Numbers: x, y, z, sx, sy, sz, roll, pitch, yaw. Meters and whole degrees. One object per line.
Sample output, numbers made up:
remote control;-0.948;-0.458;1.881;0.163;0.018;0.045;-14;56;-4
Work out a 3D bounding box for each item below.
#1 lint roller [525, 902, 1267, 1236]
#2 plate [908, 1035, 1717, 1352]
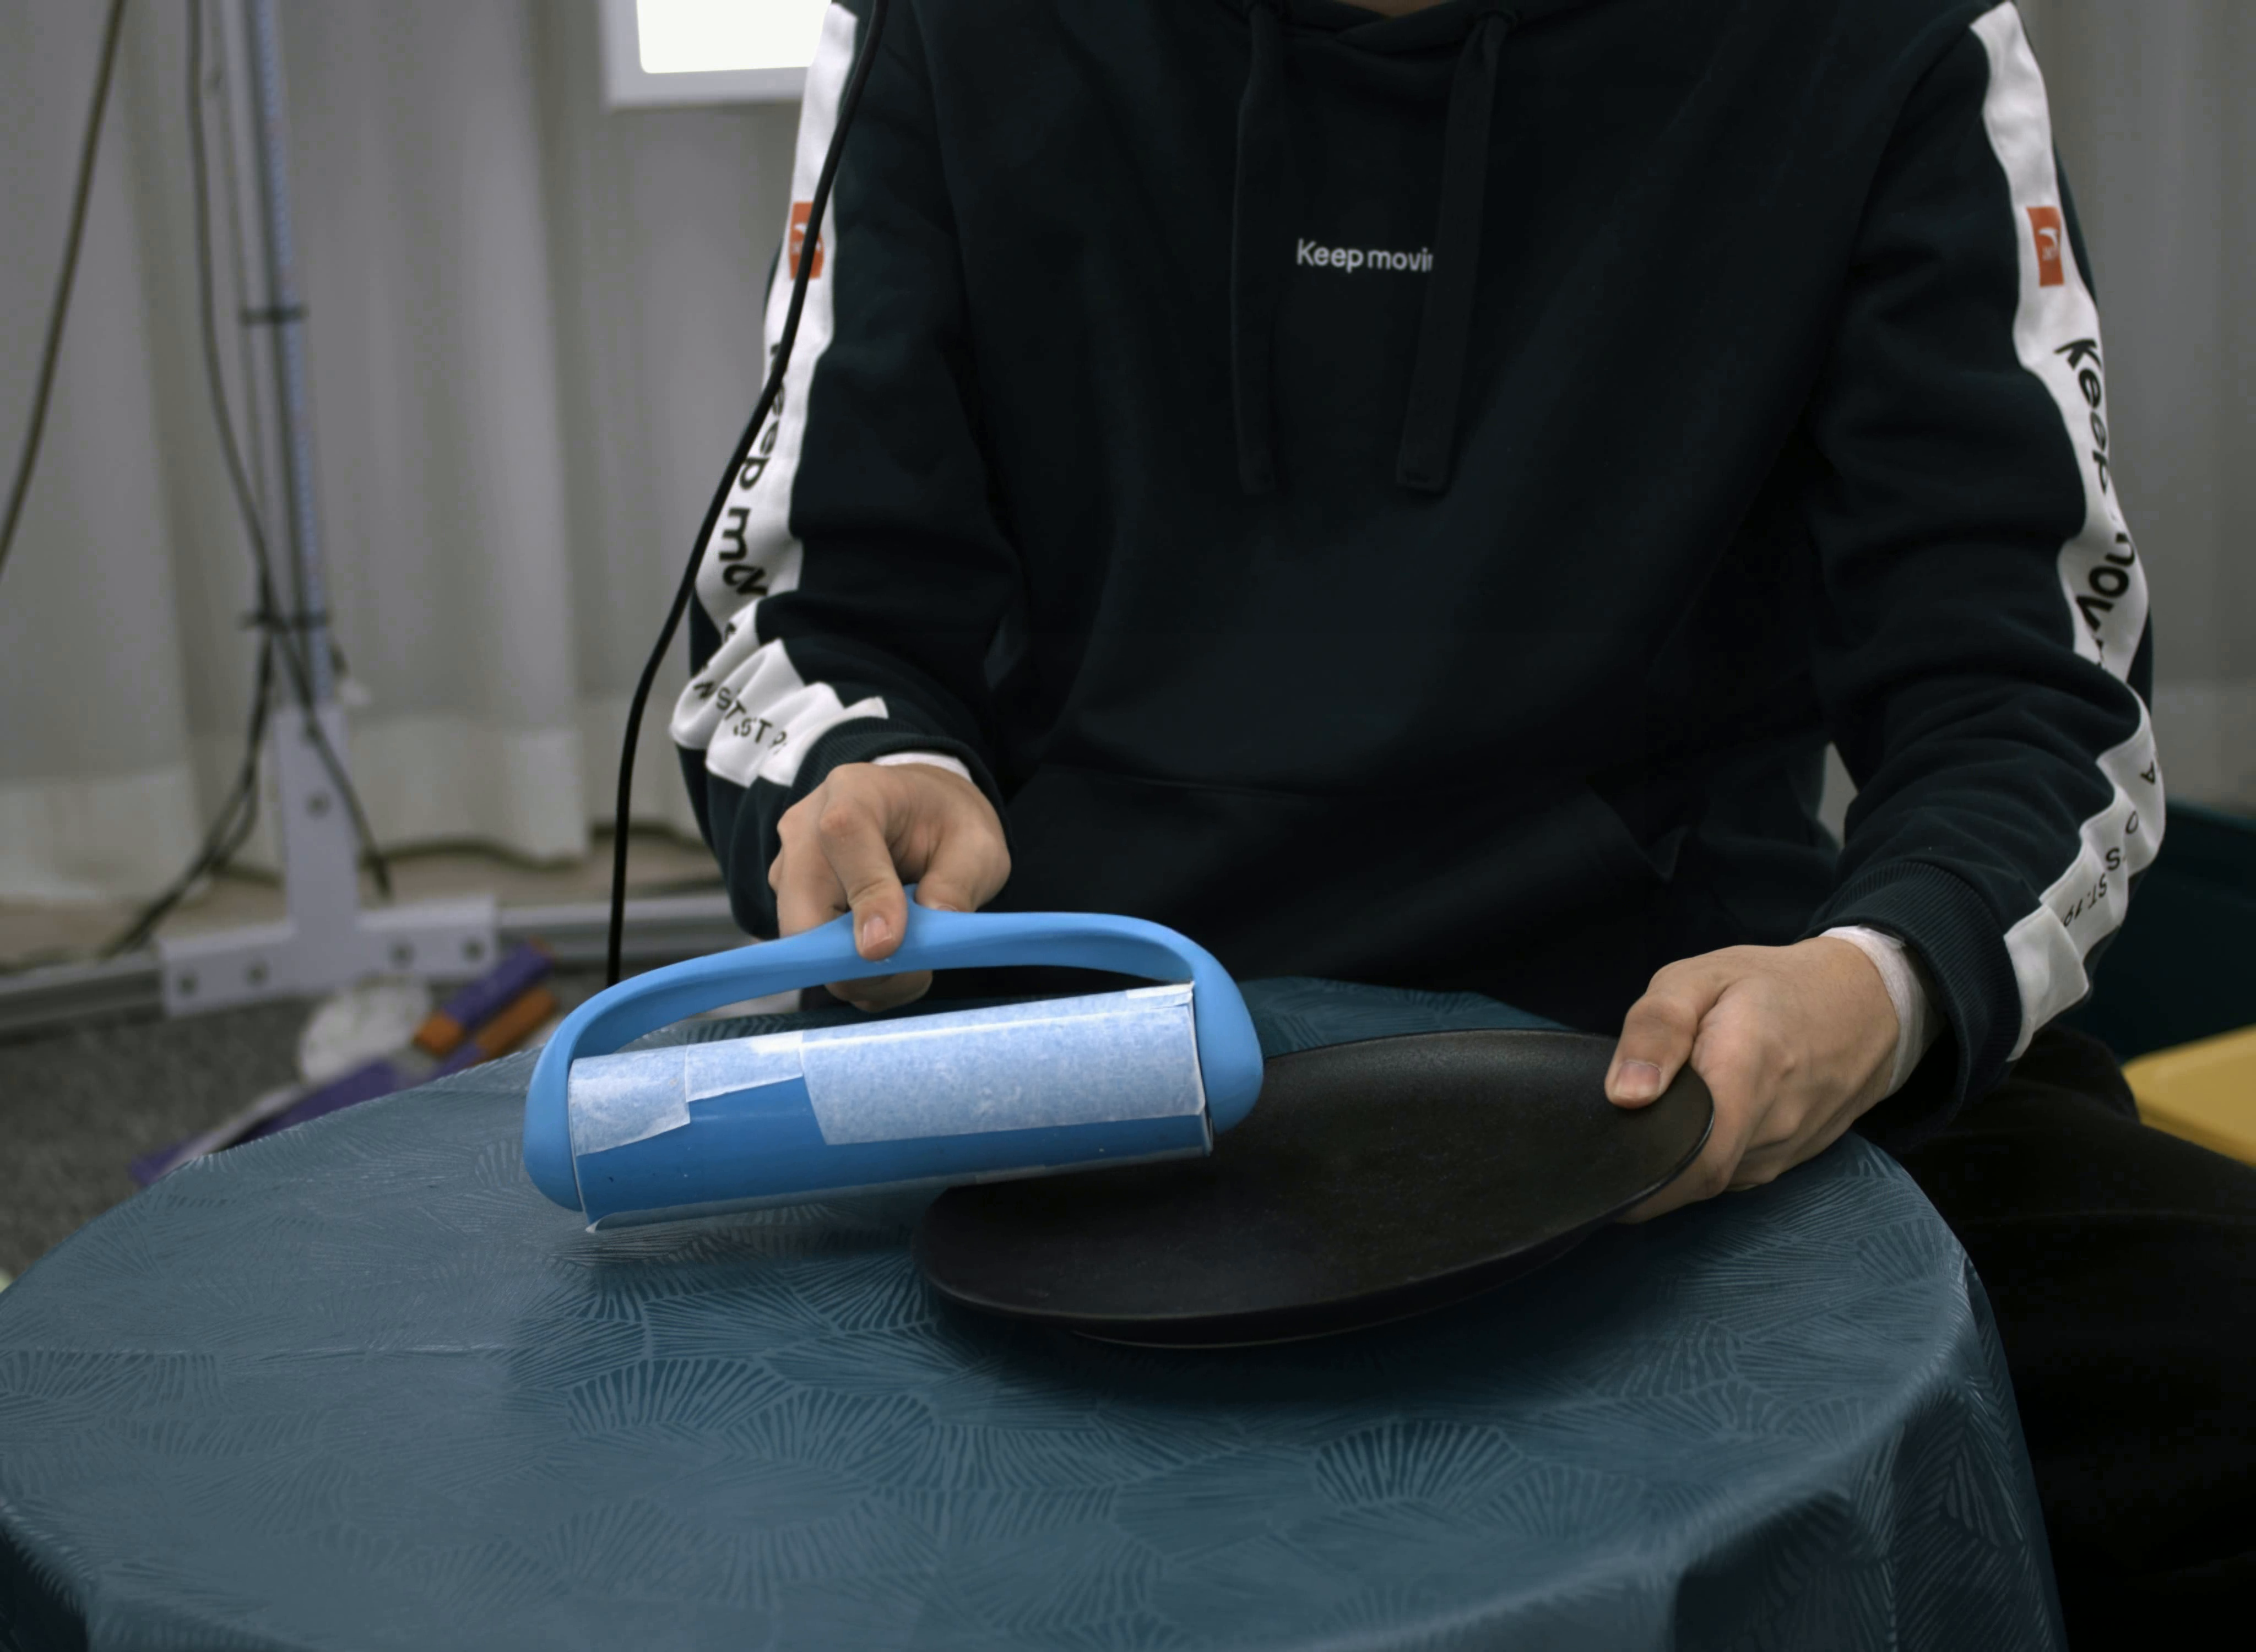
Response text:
lint roller;-0.076;0.058;1.725;0.228;0.067;0.182;-9;27;0
plate;0.056;0.112;1.625;0.243;0.023;0.246;-10;14;2
